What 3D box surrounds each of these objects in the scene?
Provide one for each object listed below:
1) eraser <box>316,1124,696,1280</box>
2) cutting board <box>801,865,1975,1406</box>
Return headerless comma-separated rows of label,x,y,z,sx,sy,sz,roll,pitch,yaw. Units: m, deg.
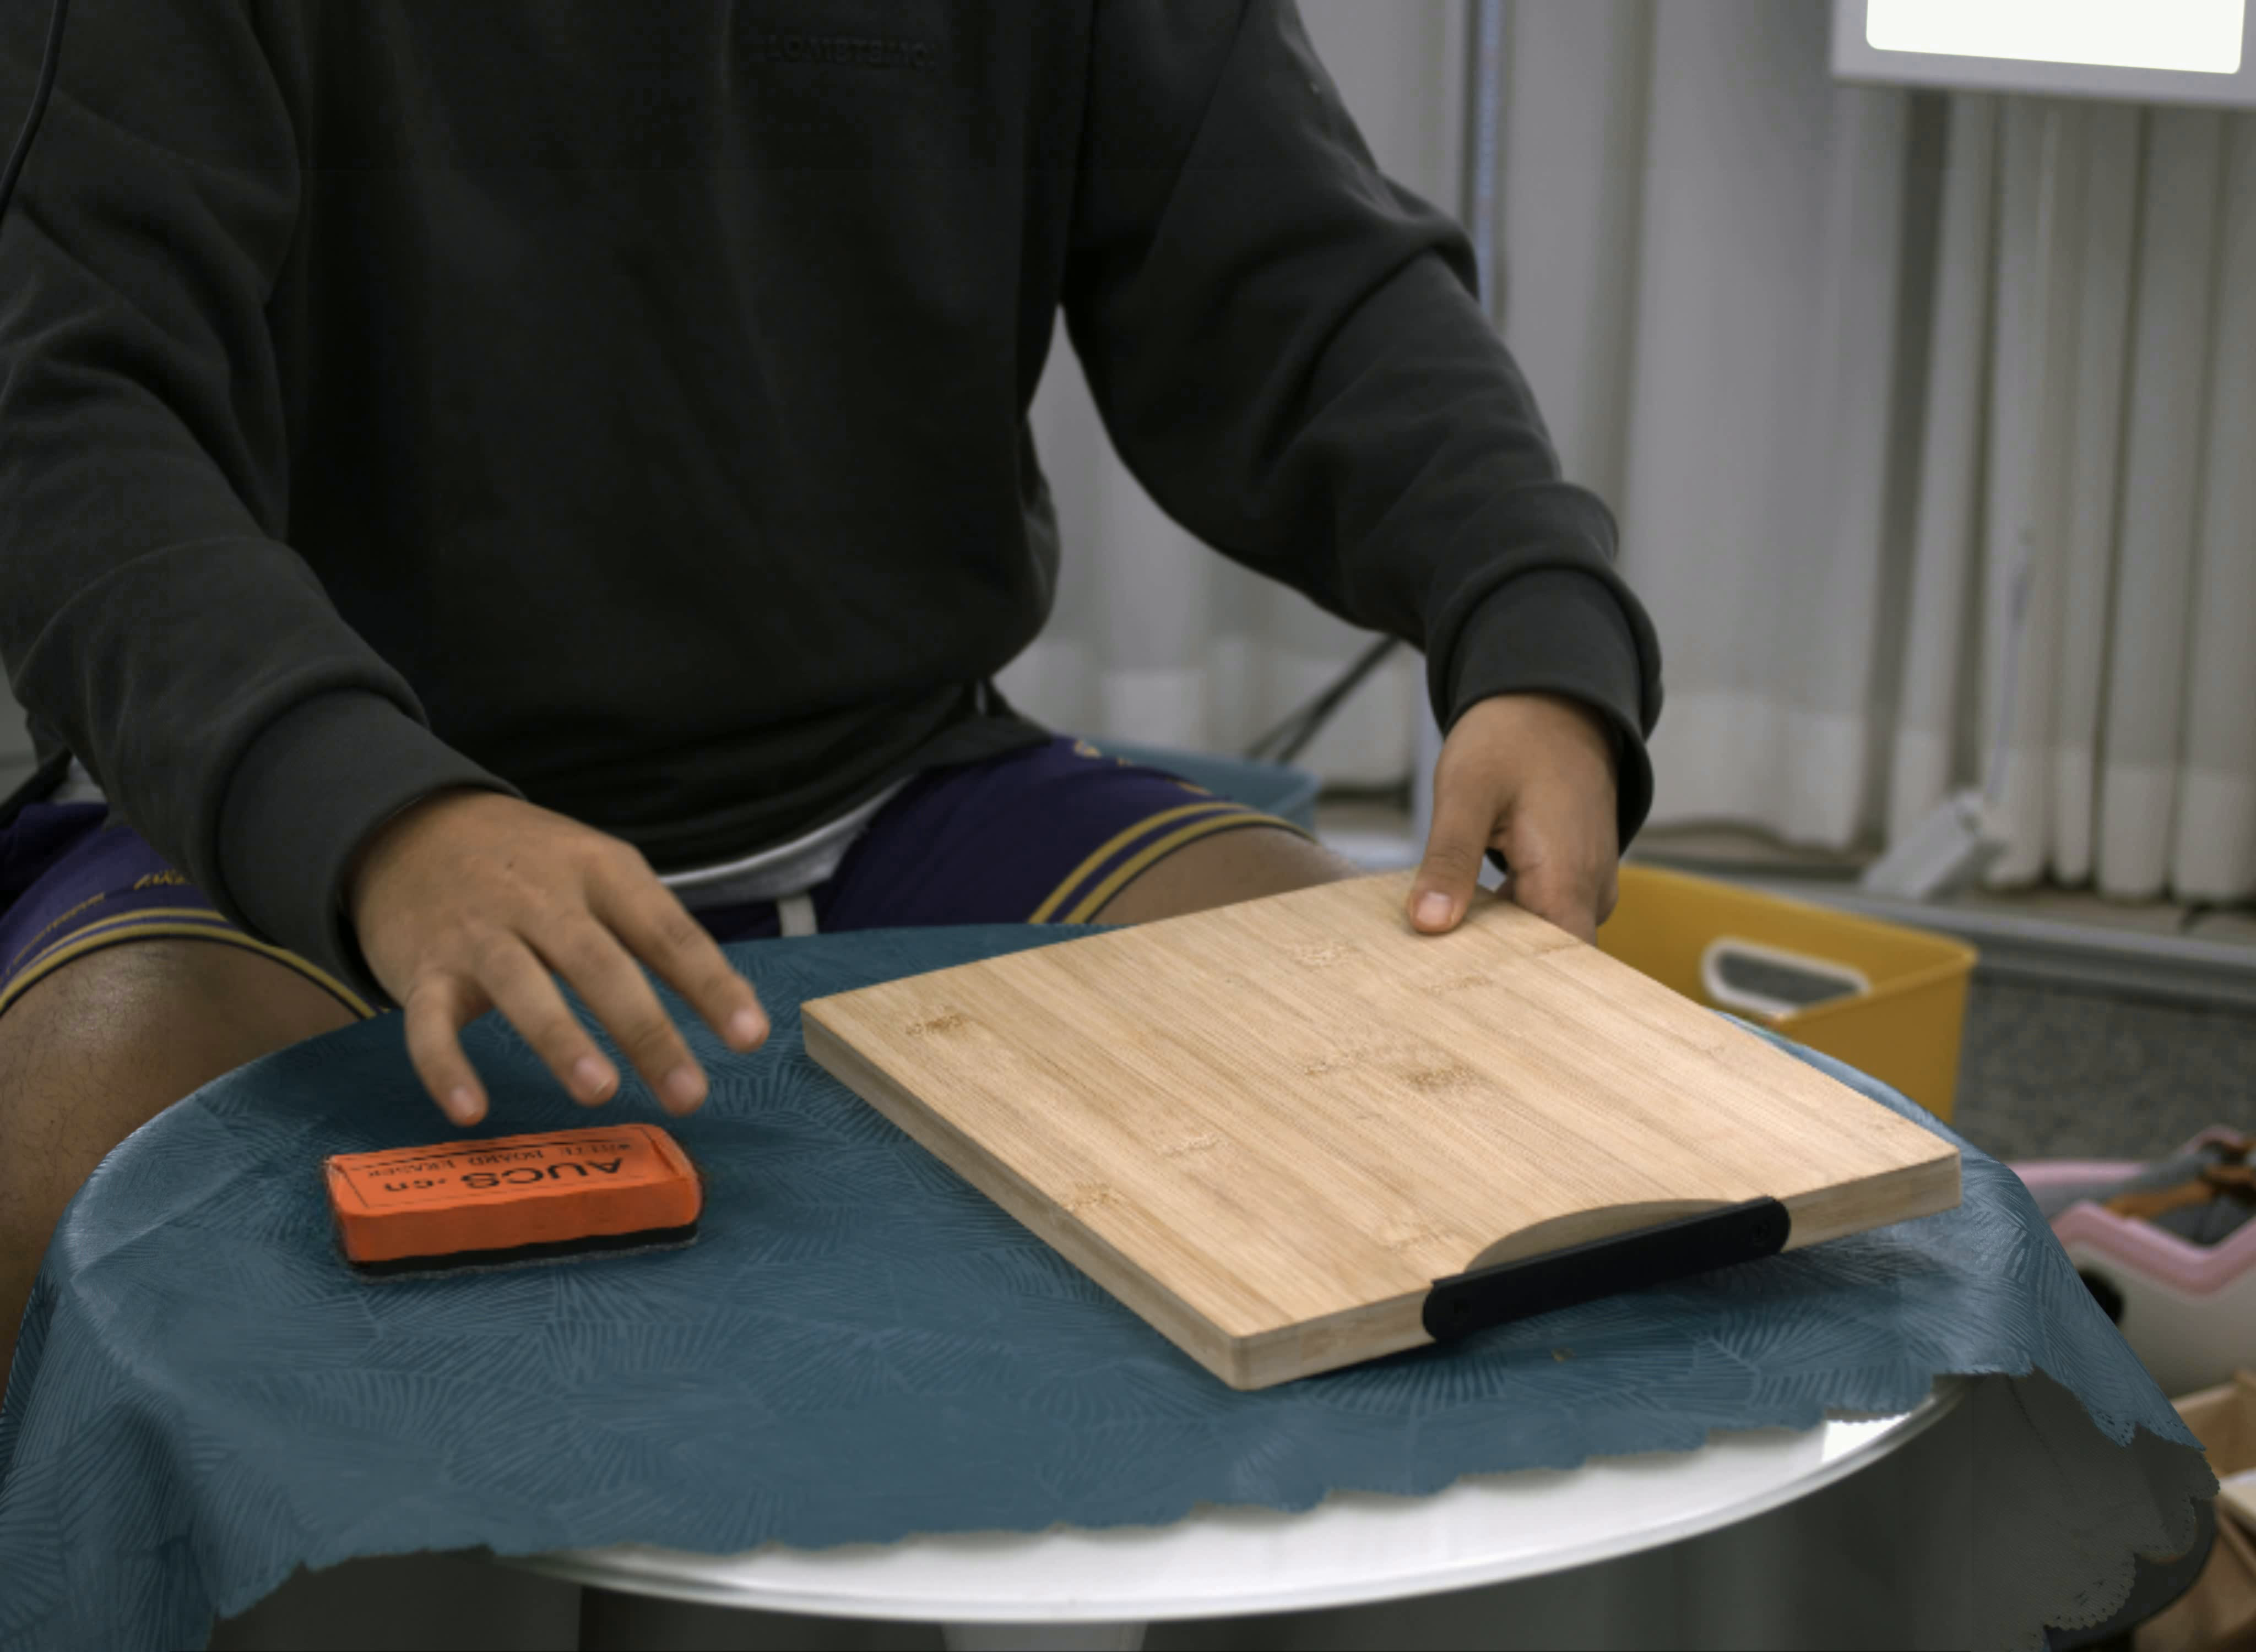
eraser,-0.186,0.112,1.573,0.108,0.023,0.058,-4,16,-19
cutting board,0.070,0.087,1.645,0.251,0.024,0.344,-13,20,-23
